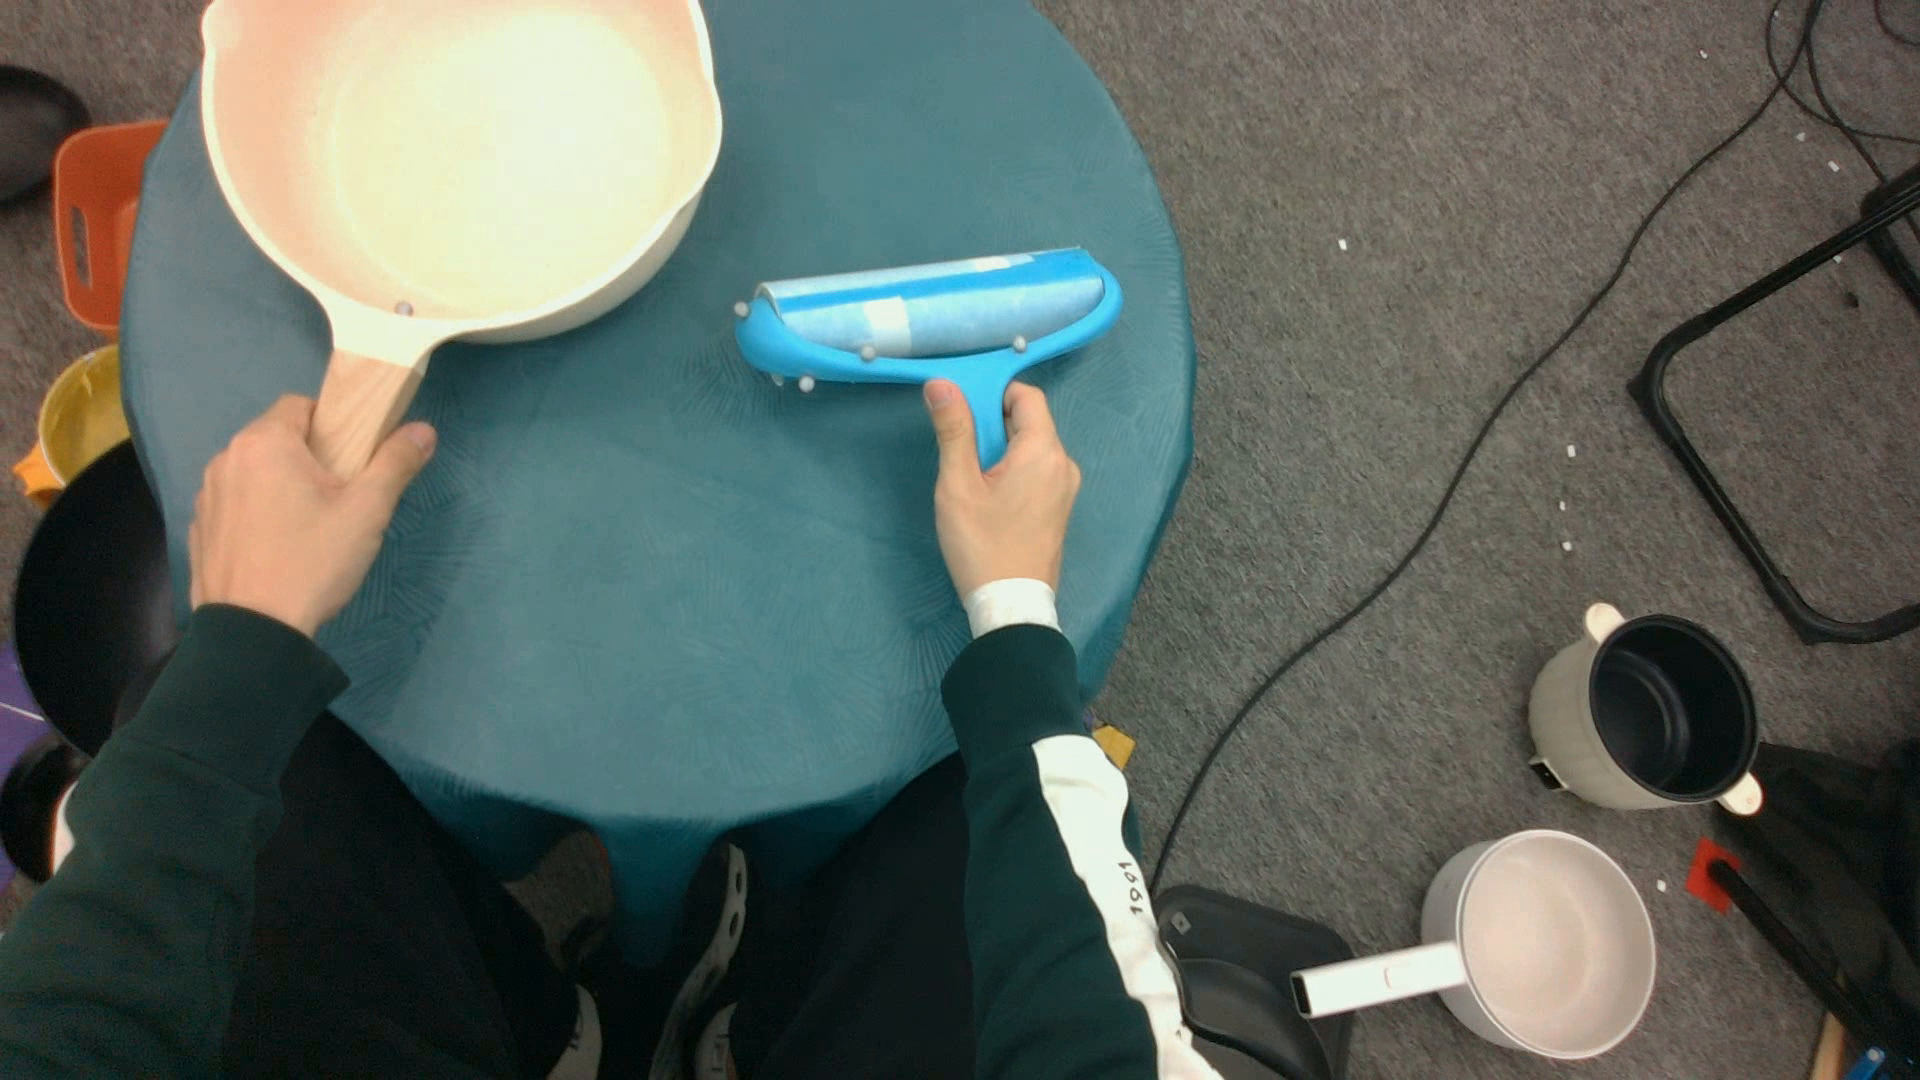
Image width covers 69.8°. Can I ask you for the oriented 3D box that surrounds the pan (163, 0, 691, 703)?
[{"bbox_3d":[-0.288,-0.131,0.708,0.263,0.102,0.435,12,81,-4],"label":"pan"}]

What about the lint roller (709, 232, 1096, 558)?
[{"bbox_3d":[-0.009,-0.083,0.768,0.229,0.067,0.180,-15,72,-23],"label":"lint roller"}]
